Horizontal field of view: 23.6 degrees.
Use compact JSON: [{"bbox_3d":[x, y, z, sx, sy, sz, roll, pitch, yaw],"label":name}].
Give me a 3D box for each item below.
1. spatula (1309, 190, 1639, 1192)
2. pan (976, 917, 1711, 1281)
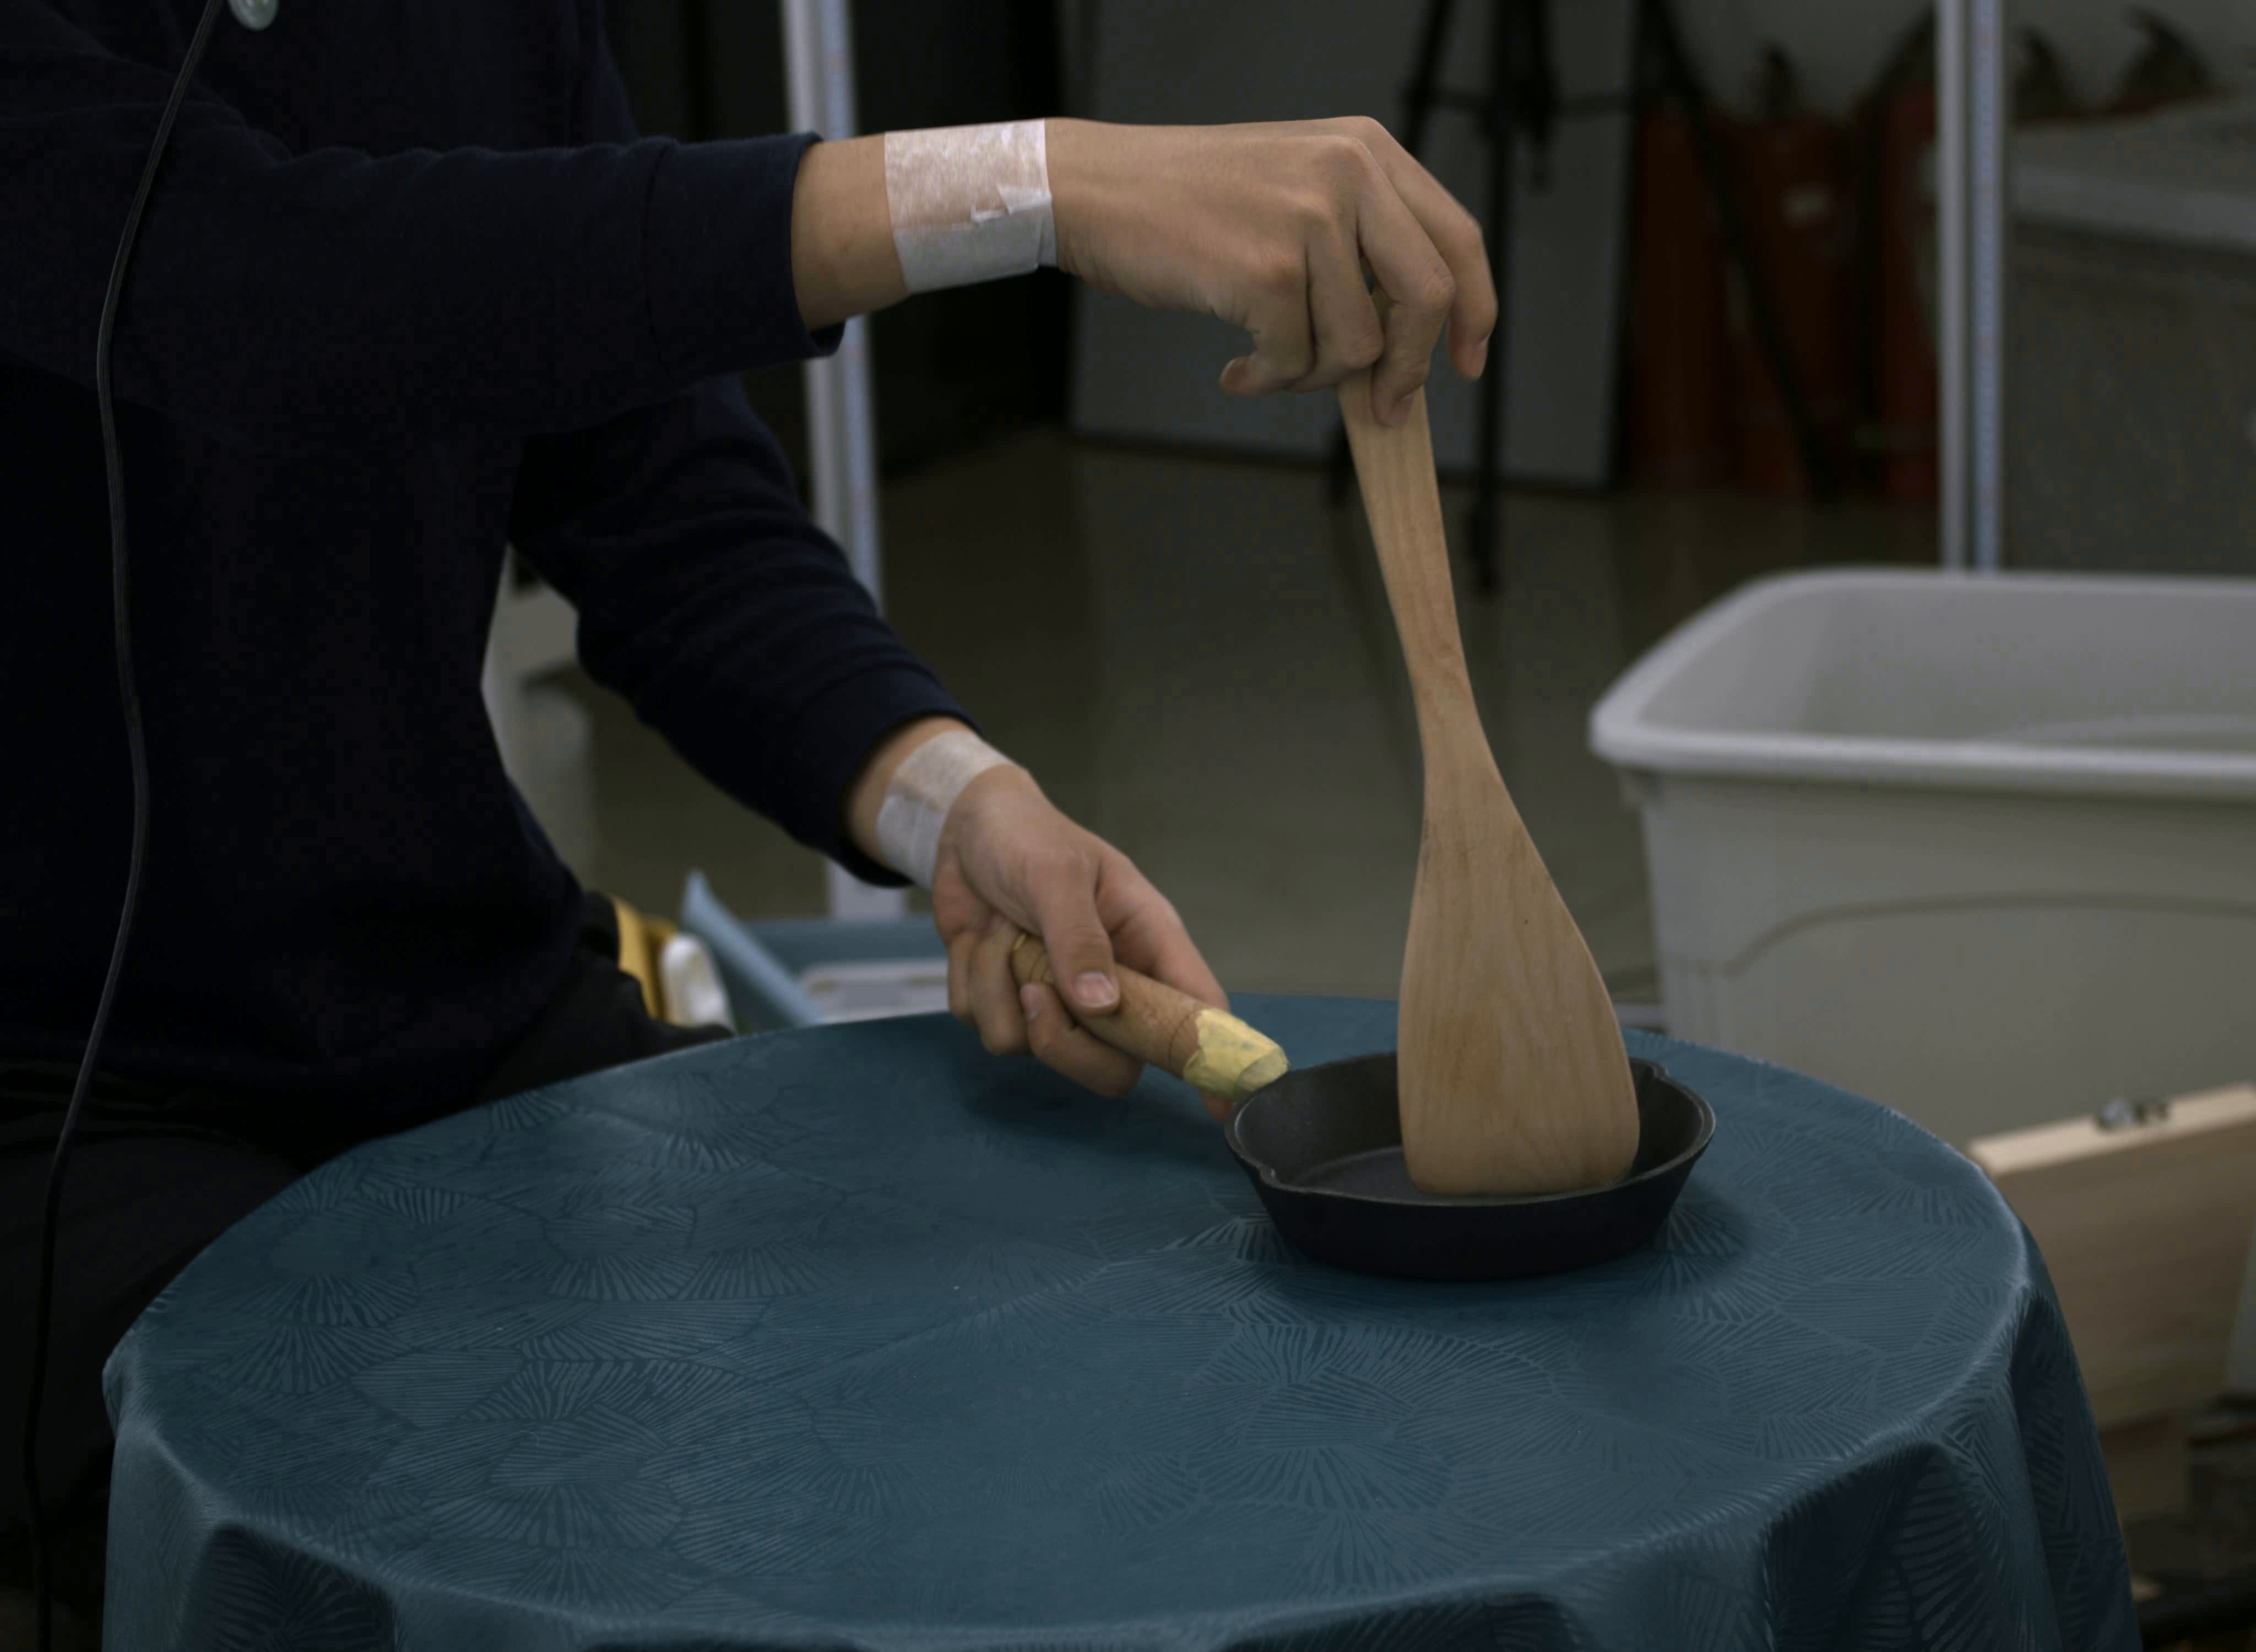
[{"bbox_3d":[0.097,-0.035,1.696,0.079,0.331,0.016,-12,7,-4],"label":"spatula"},{"bbox_3d":[0.056,0.086,1.776,0.165,0.050,0.327,-14,19,-36],"label":"pan"}]
